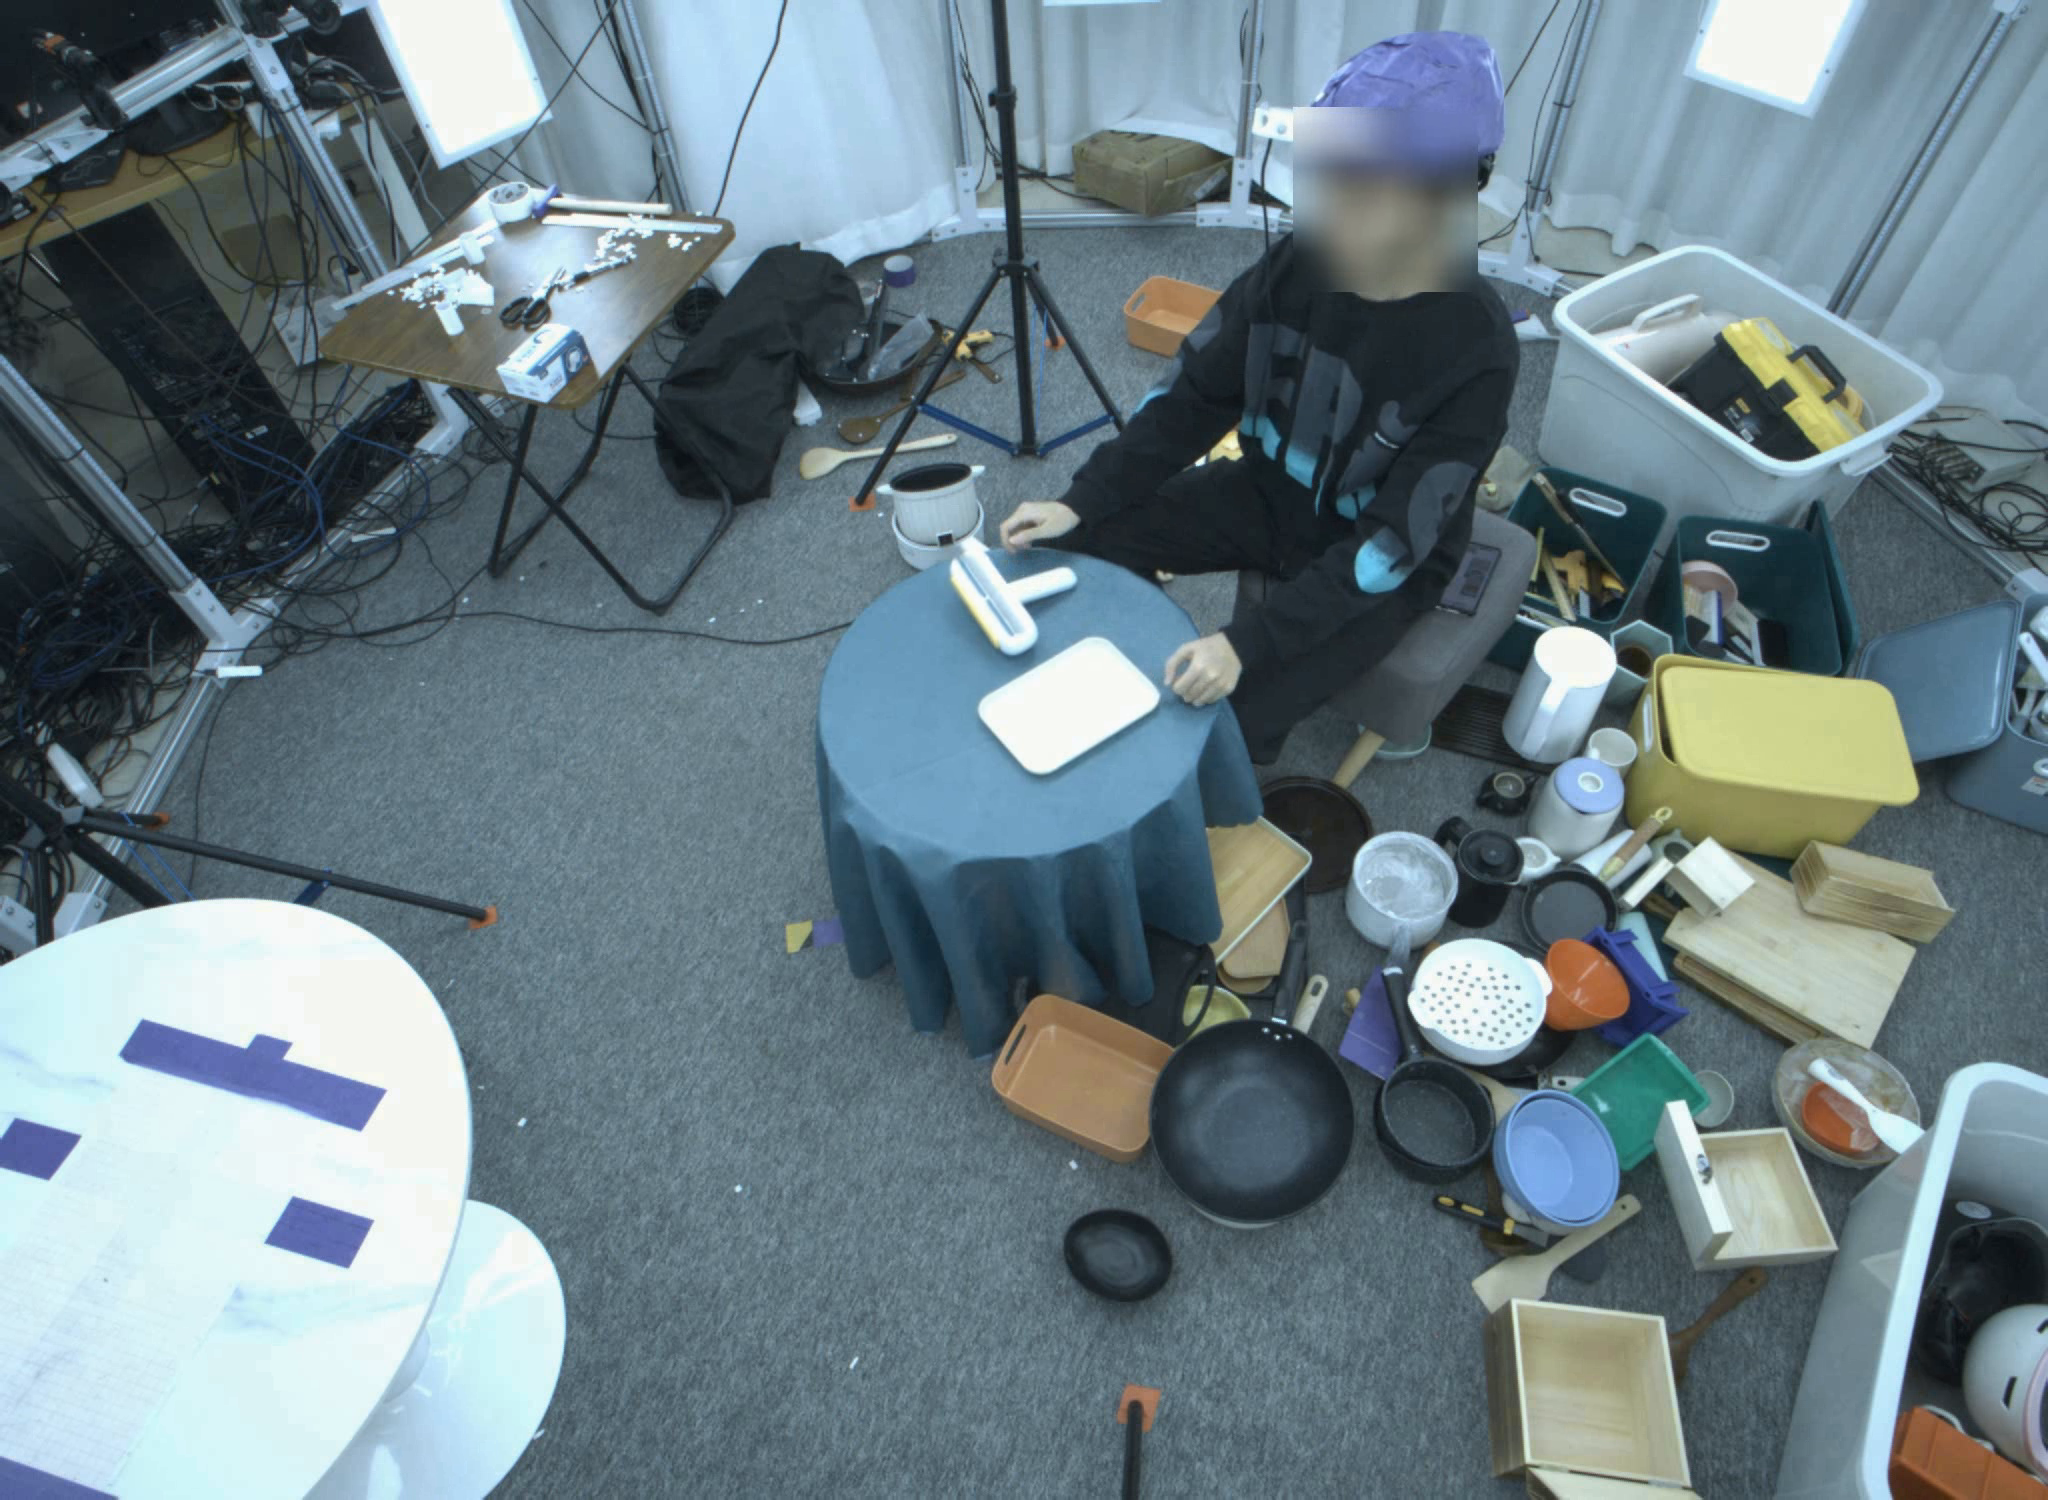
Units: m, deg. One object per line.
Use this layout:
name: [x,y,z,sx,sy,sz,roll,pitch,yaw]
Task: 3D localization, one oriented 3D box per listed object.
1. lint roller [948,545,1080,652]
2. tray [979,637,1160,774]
lint roller: [0.000,-0.253,1.921,0.194,0.075,0.190,-24,63,-16]
tray: [0.067,-0.067,1.817,0.241,0.017,0.168,-31,59,-18]
